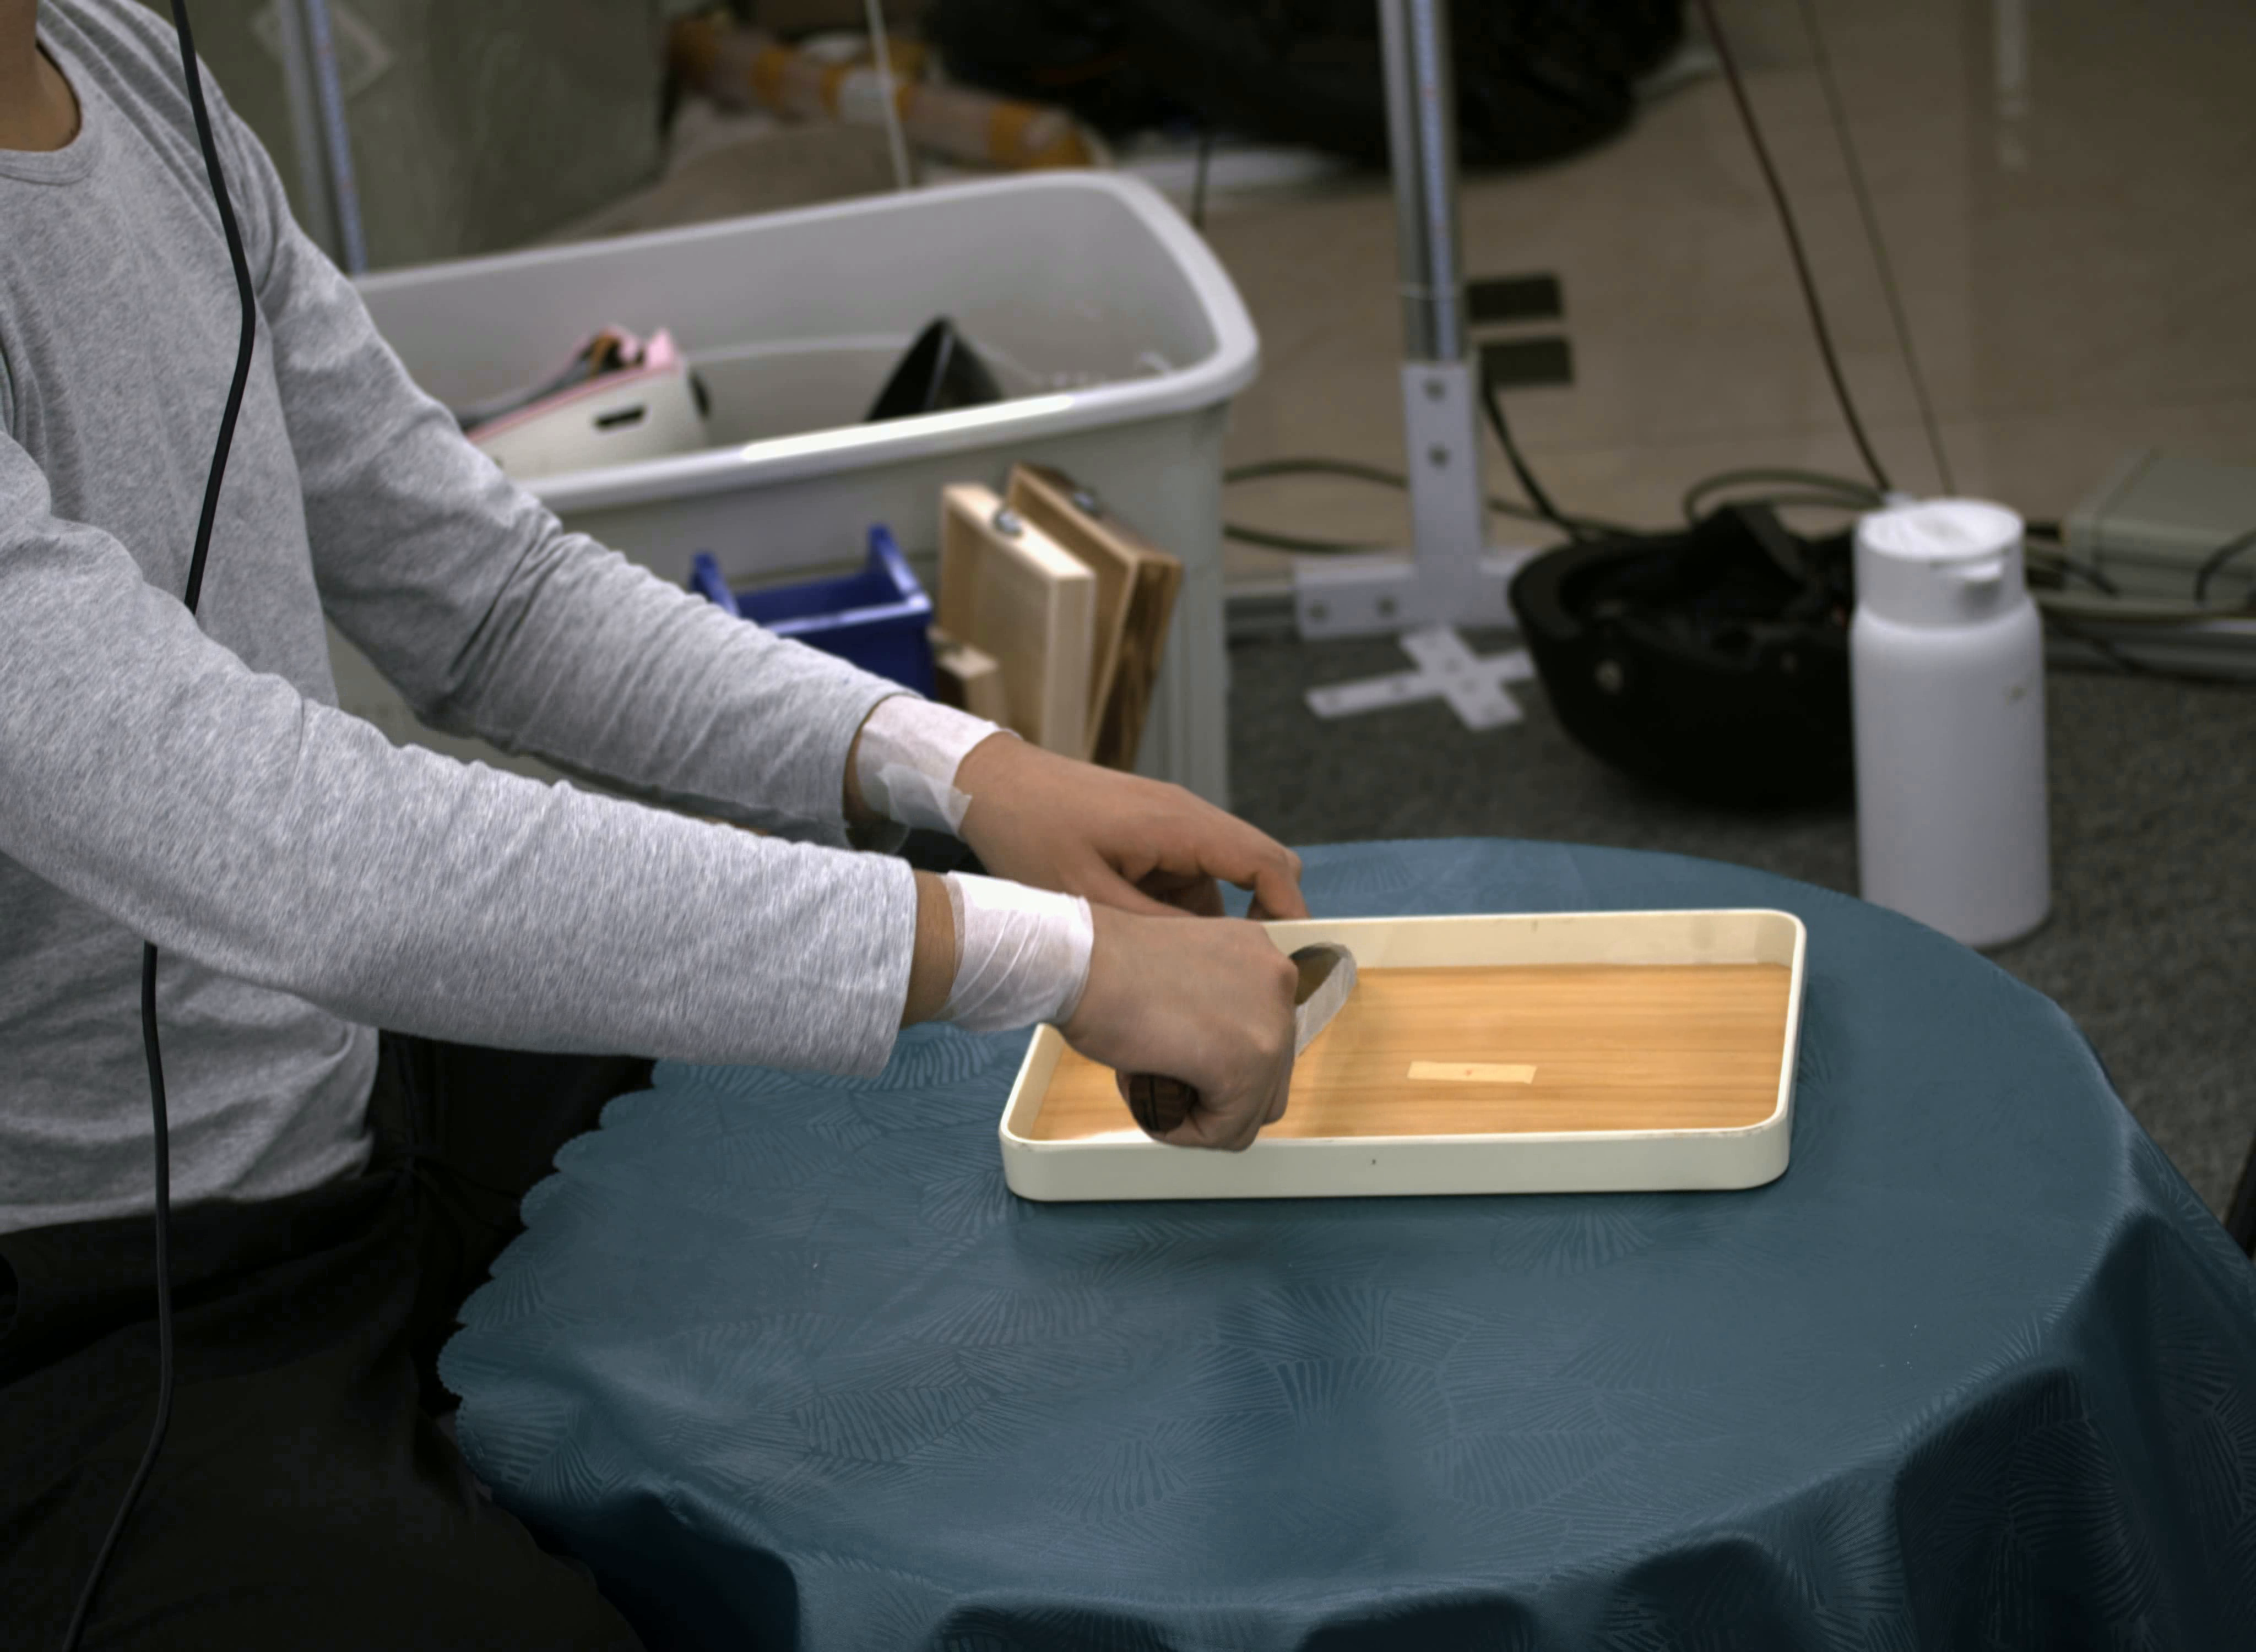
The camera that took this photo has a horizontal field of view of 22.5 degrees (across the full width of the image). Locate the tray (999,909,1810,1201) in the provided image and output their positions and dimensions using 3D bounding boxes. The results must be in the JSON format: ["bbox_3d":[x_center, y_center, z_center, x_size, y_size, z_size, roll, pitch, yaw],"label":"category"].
[{"bbox_3d":[0.111,0.088,2.202,0.300,0.028,0.189,-2,25,11],"label":"tray"}]

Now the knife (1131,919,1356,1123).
[{"bbox_3d":[0.050,0.074,2.145,0.020,0.050,0.287,8,10,16],"label":"knife"}]
